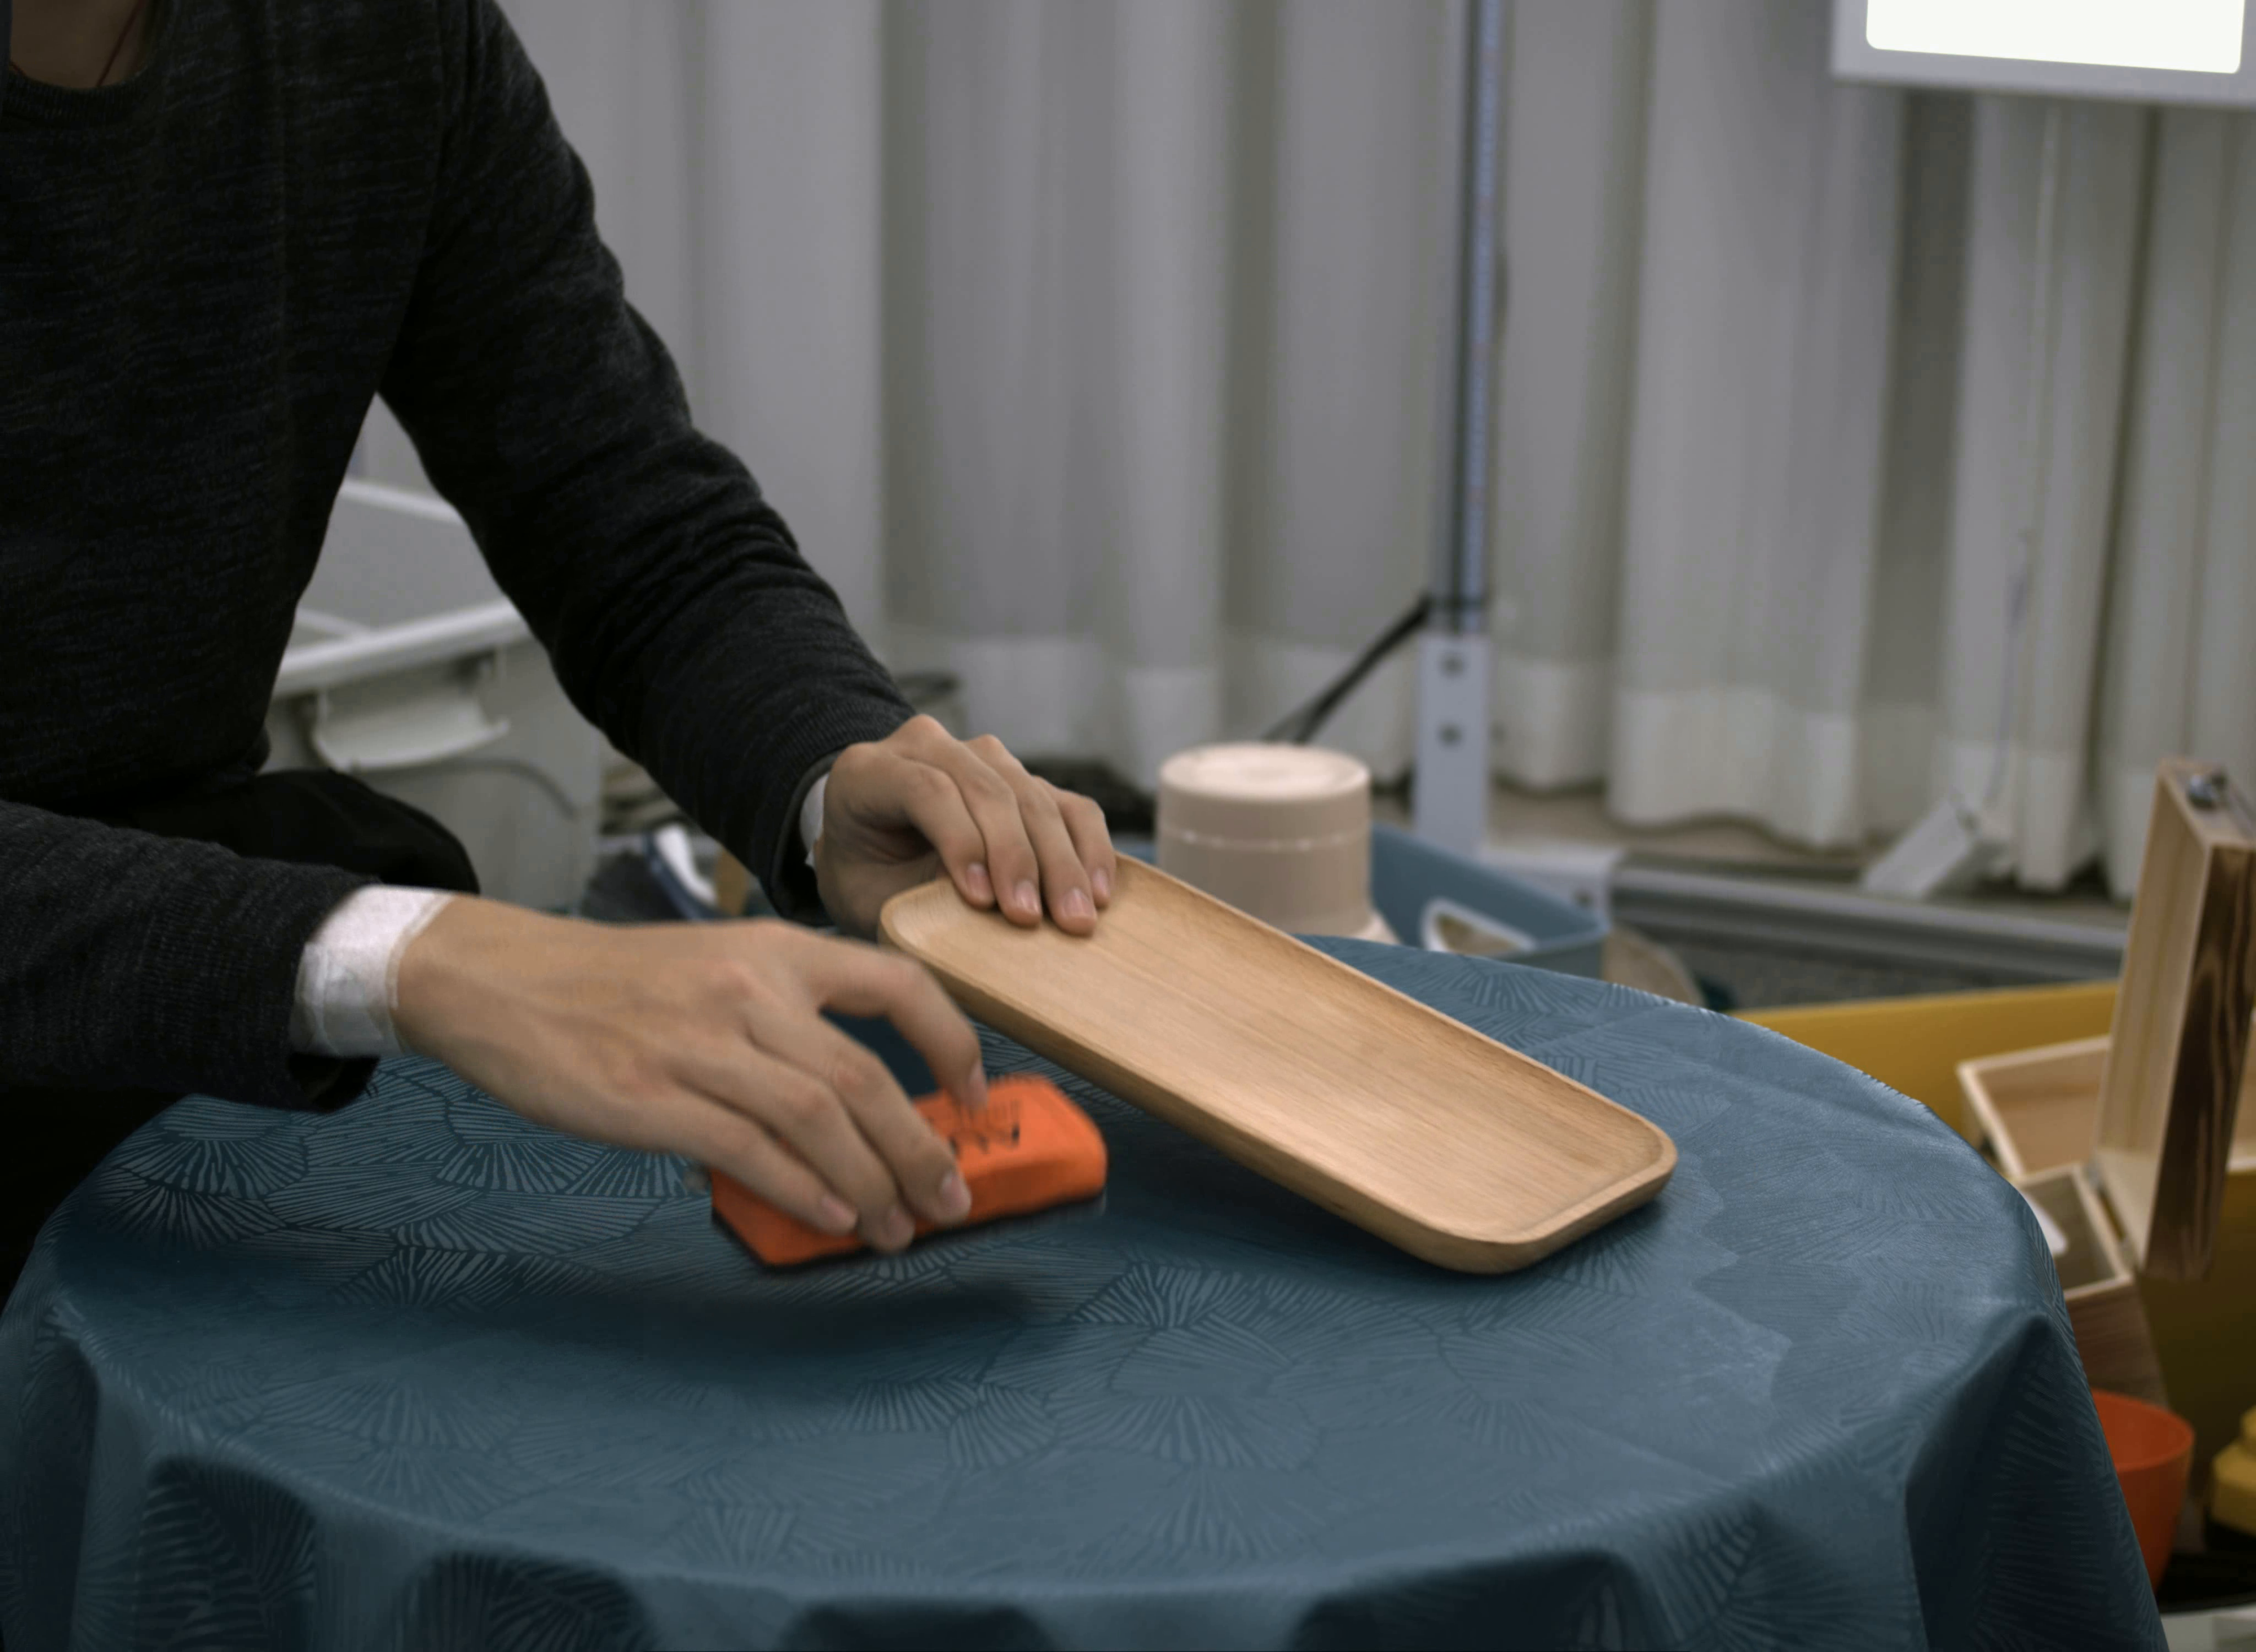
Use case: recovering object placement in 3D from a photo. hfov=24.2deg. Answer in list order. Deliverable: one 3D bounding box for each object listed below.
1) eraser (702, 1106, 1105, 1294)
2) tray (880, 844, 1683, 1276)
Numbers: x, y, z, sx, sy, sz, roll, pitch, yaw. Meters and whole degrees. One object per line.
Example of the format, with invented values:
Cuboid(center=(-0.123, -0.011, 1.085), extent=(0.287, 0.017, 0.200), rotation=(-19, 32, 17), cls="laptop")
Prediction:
Cuboid(center=(-0.064, 0.106, 1.506), extent=(0.108, 0.023, 0.058), rotation=(-9, 18, -20), cls="eraser")
Cuboid(center=(0.045, 0.070, 1.634), extent=(0.247, 0.023, 0.131), rotation=(26, 24, 28), cls="tray")
